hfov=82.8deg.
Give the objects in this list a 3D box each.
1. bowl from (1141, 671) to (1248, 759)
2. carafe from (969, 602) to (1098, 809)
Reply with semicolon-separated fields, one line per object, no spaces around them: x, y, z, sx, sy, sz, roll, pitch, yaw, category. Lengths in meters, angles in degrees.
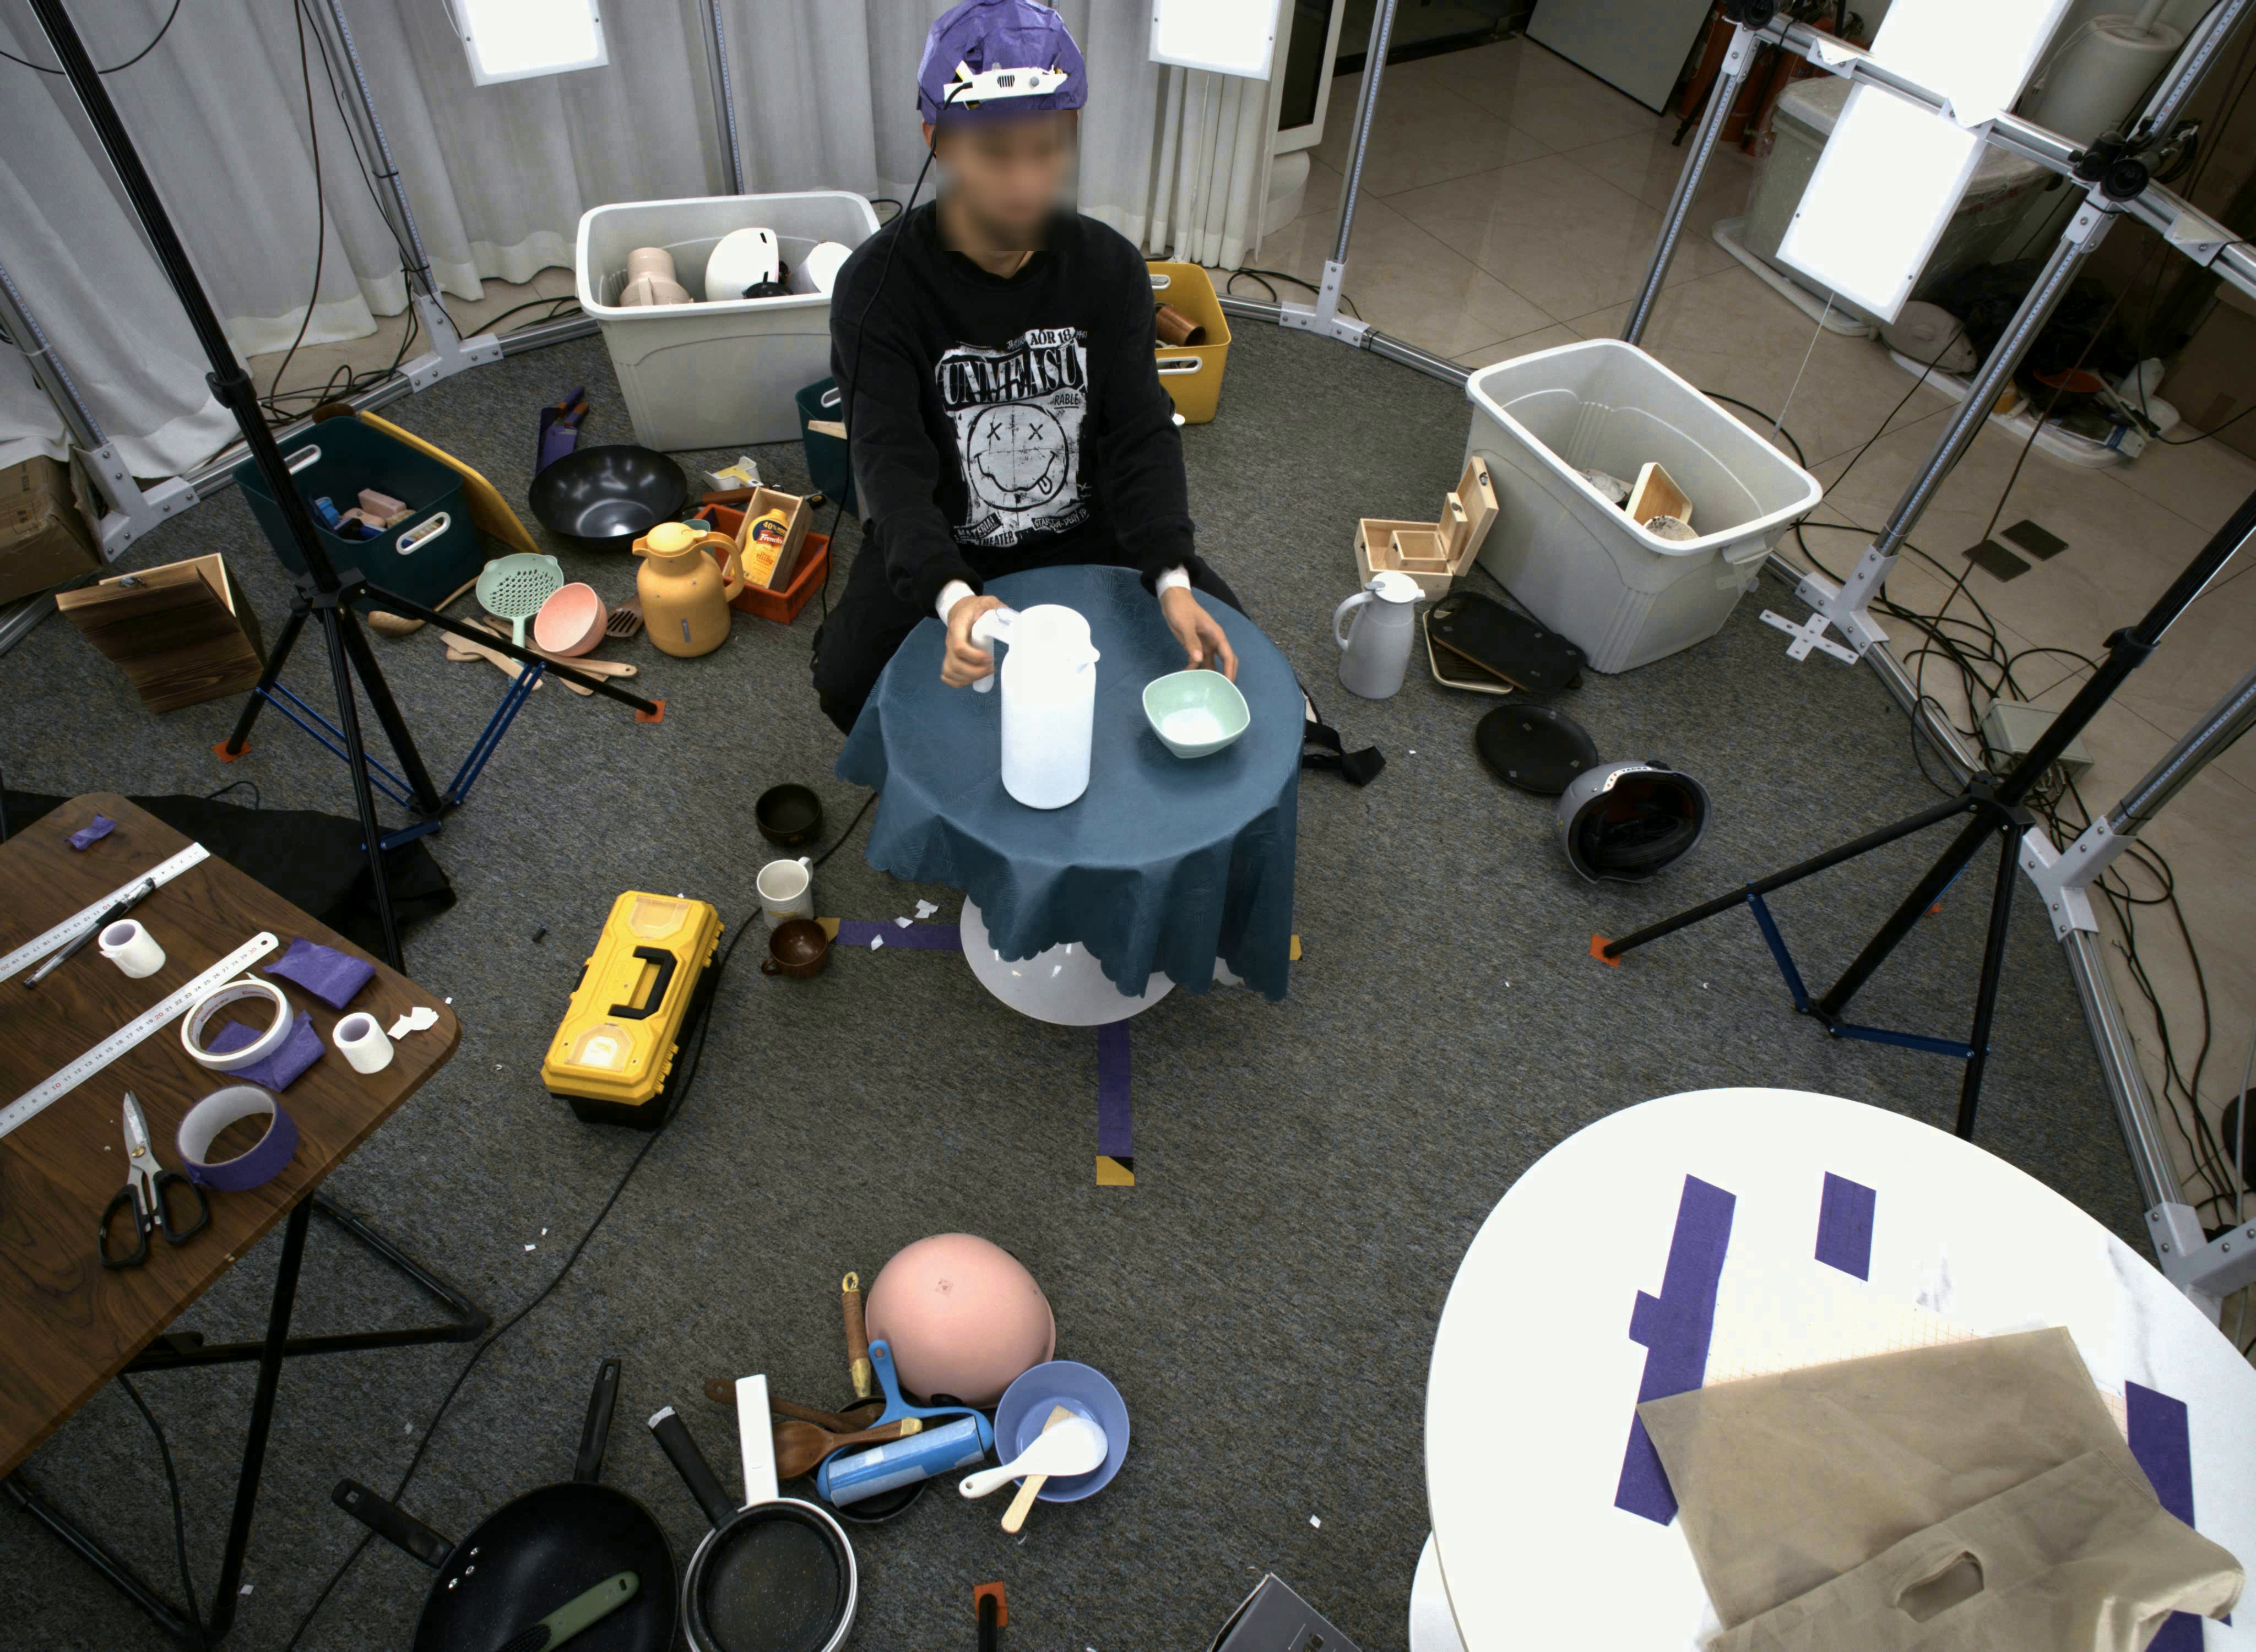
0.089;-0.144;1.766;0.151;0.057;0.155;2;49;-2;bowl
-0.120;-0.153;1.623;0.174;0.262;0.126;24;54;16;carafe
